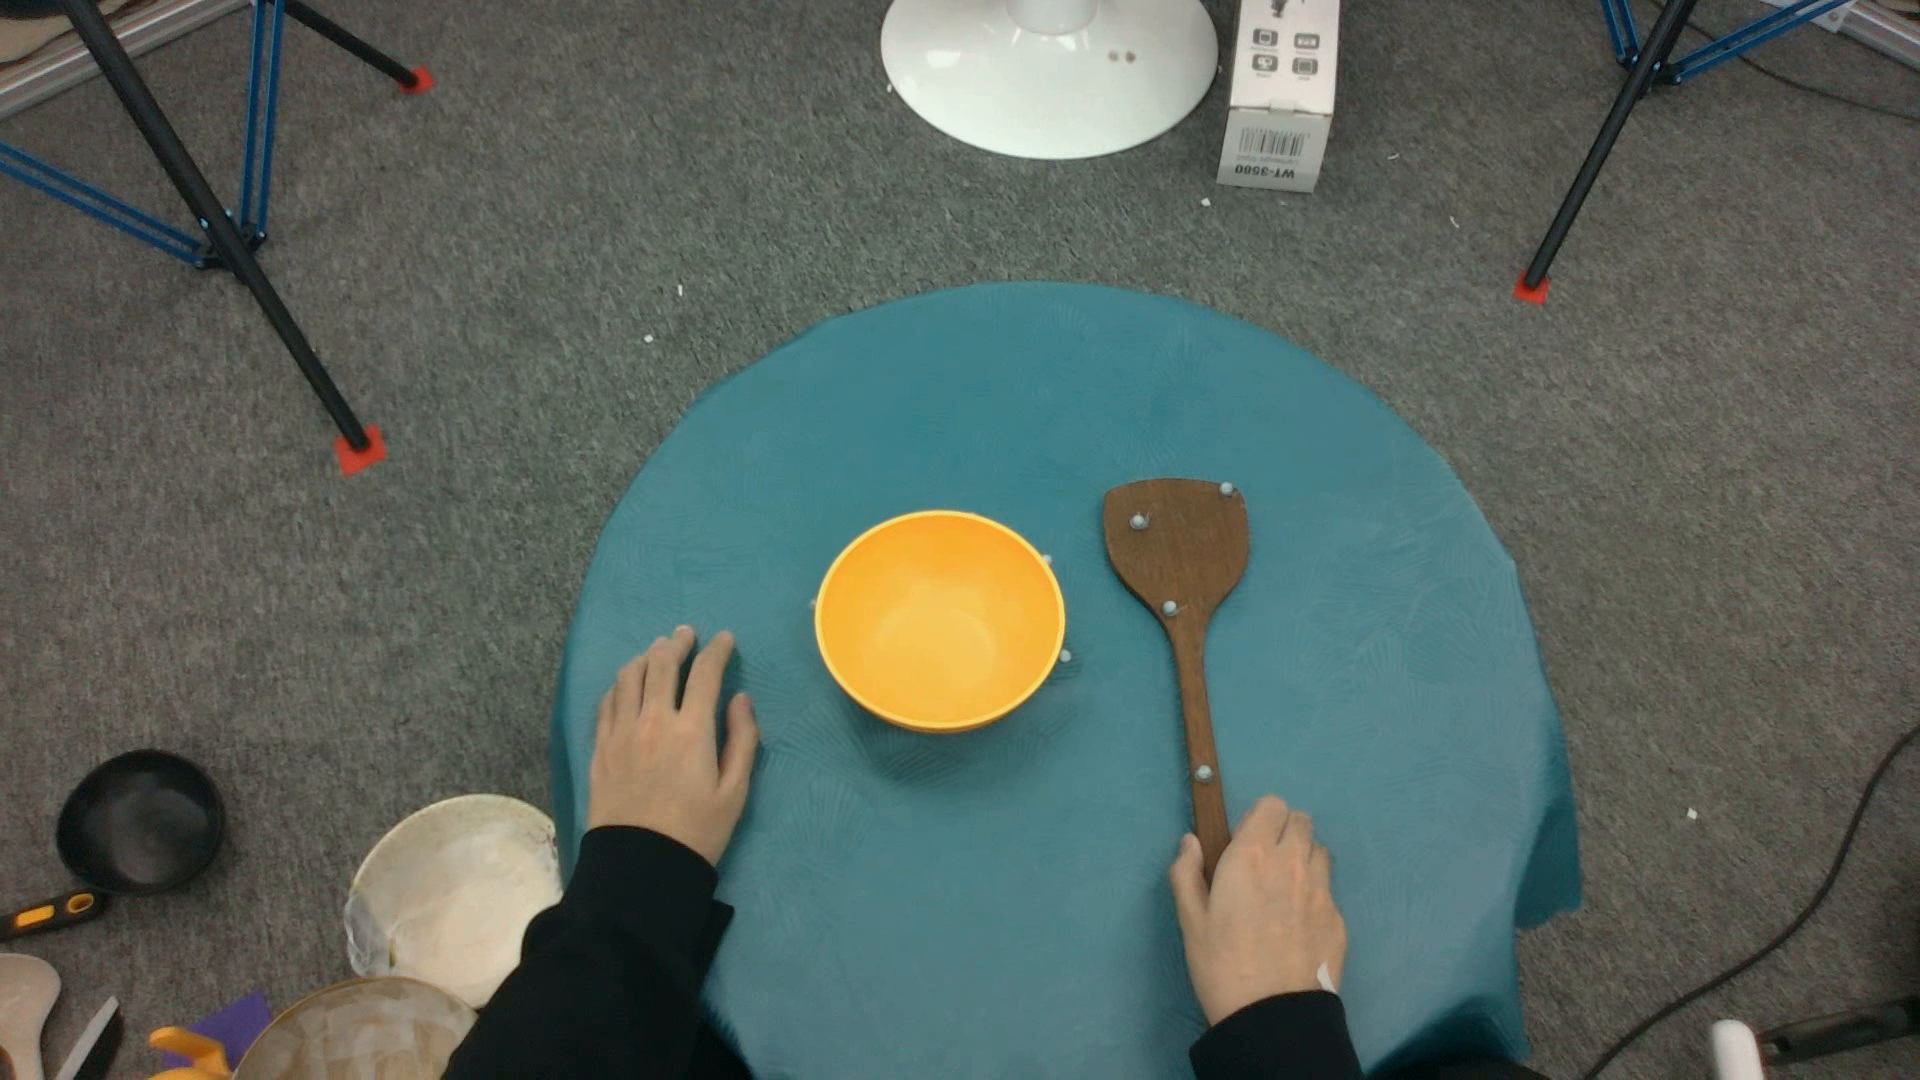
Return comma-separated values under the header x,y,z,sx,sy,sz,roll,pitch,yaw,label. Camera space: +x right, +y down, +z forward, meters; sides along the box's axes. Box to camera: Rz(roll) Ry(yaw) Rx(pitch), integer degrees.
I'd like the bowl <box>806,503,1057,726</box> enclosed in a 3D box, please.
x,y,z,sx,sy,sz,roll,pitch,yaw,label
-0.016,0.053,0.816,0.145,0.060,0.146,-1,58,1,bowl

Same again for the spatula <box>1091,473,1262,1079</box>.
x,y,z,sx,sy,sz,roll,pitch,yaw,label
0.135,0.115,0.798,0.096,0.016,0.387,0,54,-1,spatula
